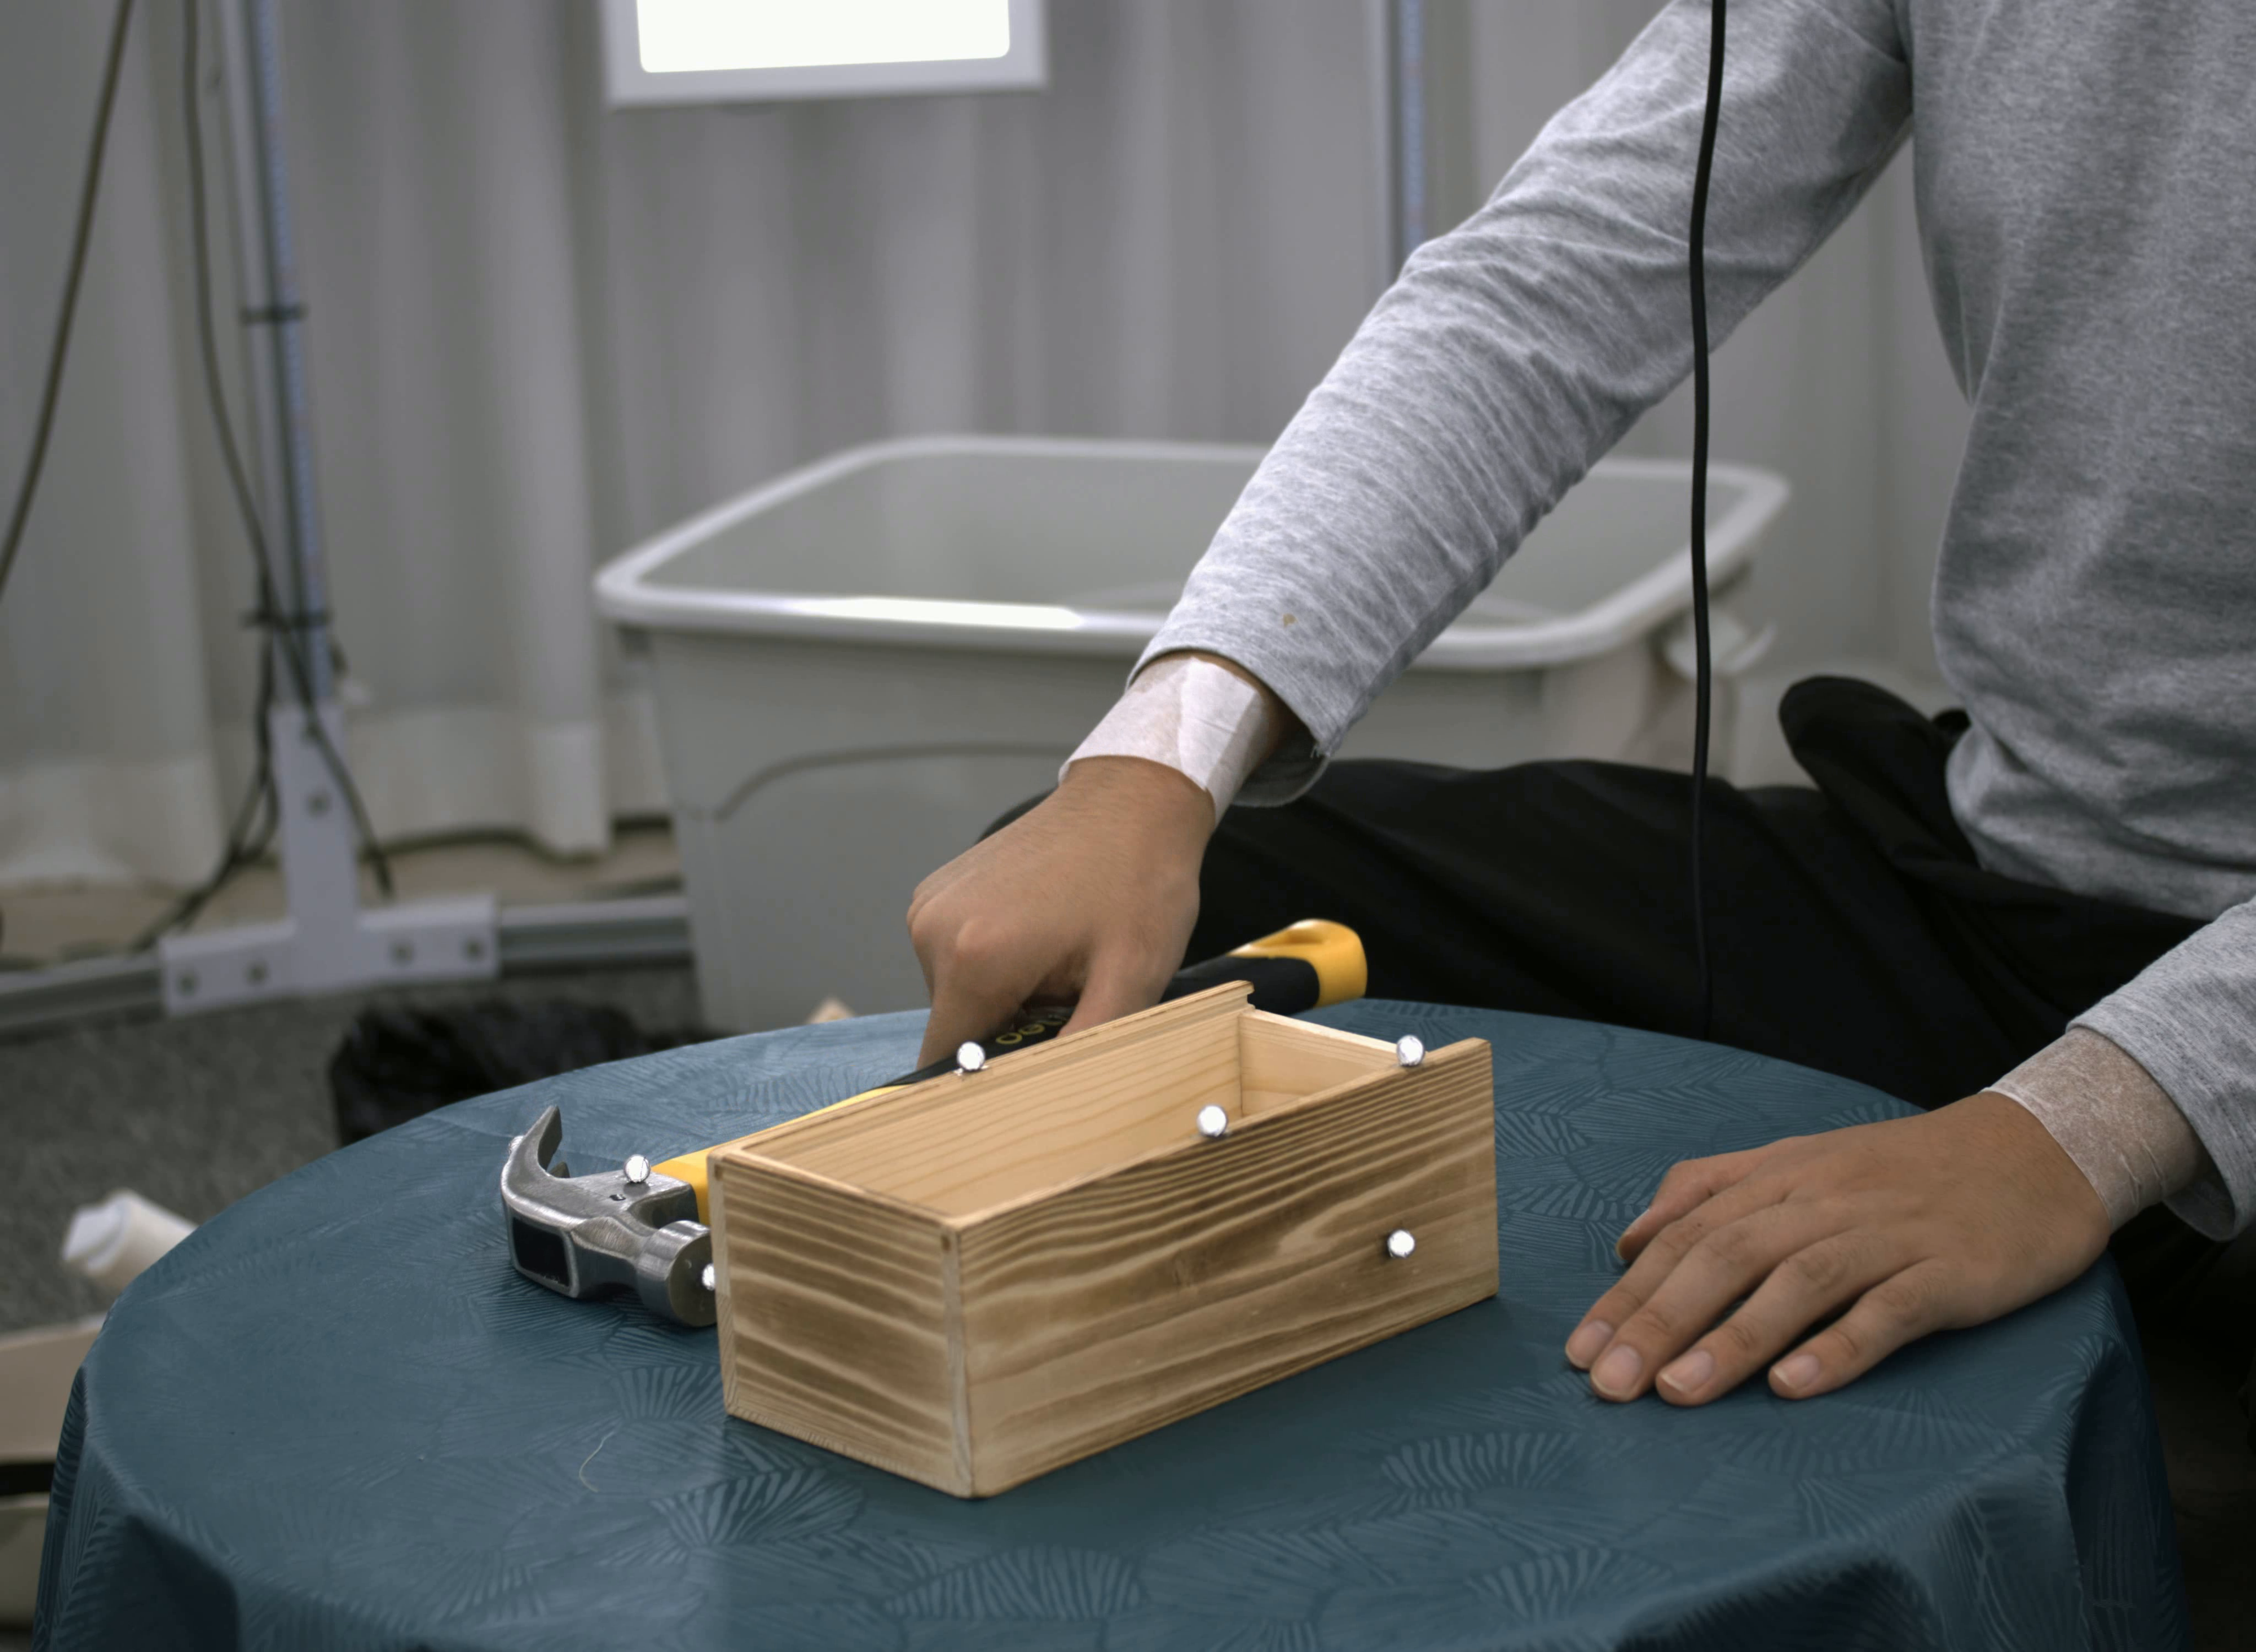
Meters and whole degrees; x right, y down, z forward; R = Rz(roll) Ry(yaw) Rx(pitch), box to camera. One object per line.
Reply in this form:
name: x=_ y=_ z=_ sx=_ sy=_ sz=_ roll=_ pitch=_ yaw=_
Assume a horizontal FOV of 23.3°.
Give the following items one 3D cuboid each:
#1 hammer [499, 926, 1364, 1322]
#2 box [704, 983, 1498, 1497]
hammer: x=-0.054 y=0.086 z=1.752 sx=0.338 sy=0.032 sz=0.132 roll=-18 pitch=19 yaw=-38
box: x=-0.005 y=0.114 z=1.565 sx=0.211 sy=0.080 sz=0.108 roll=-16 pitch=19 yaw=-41
